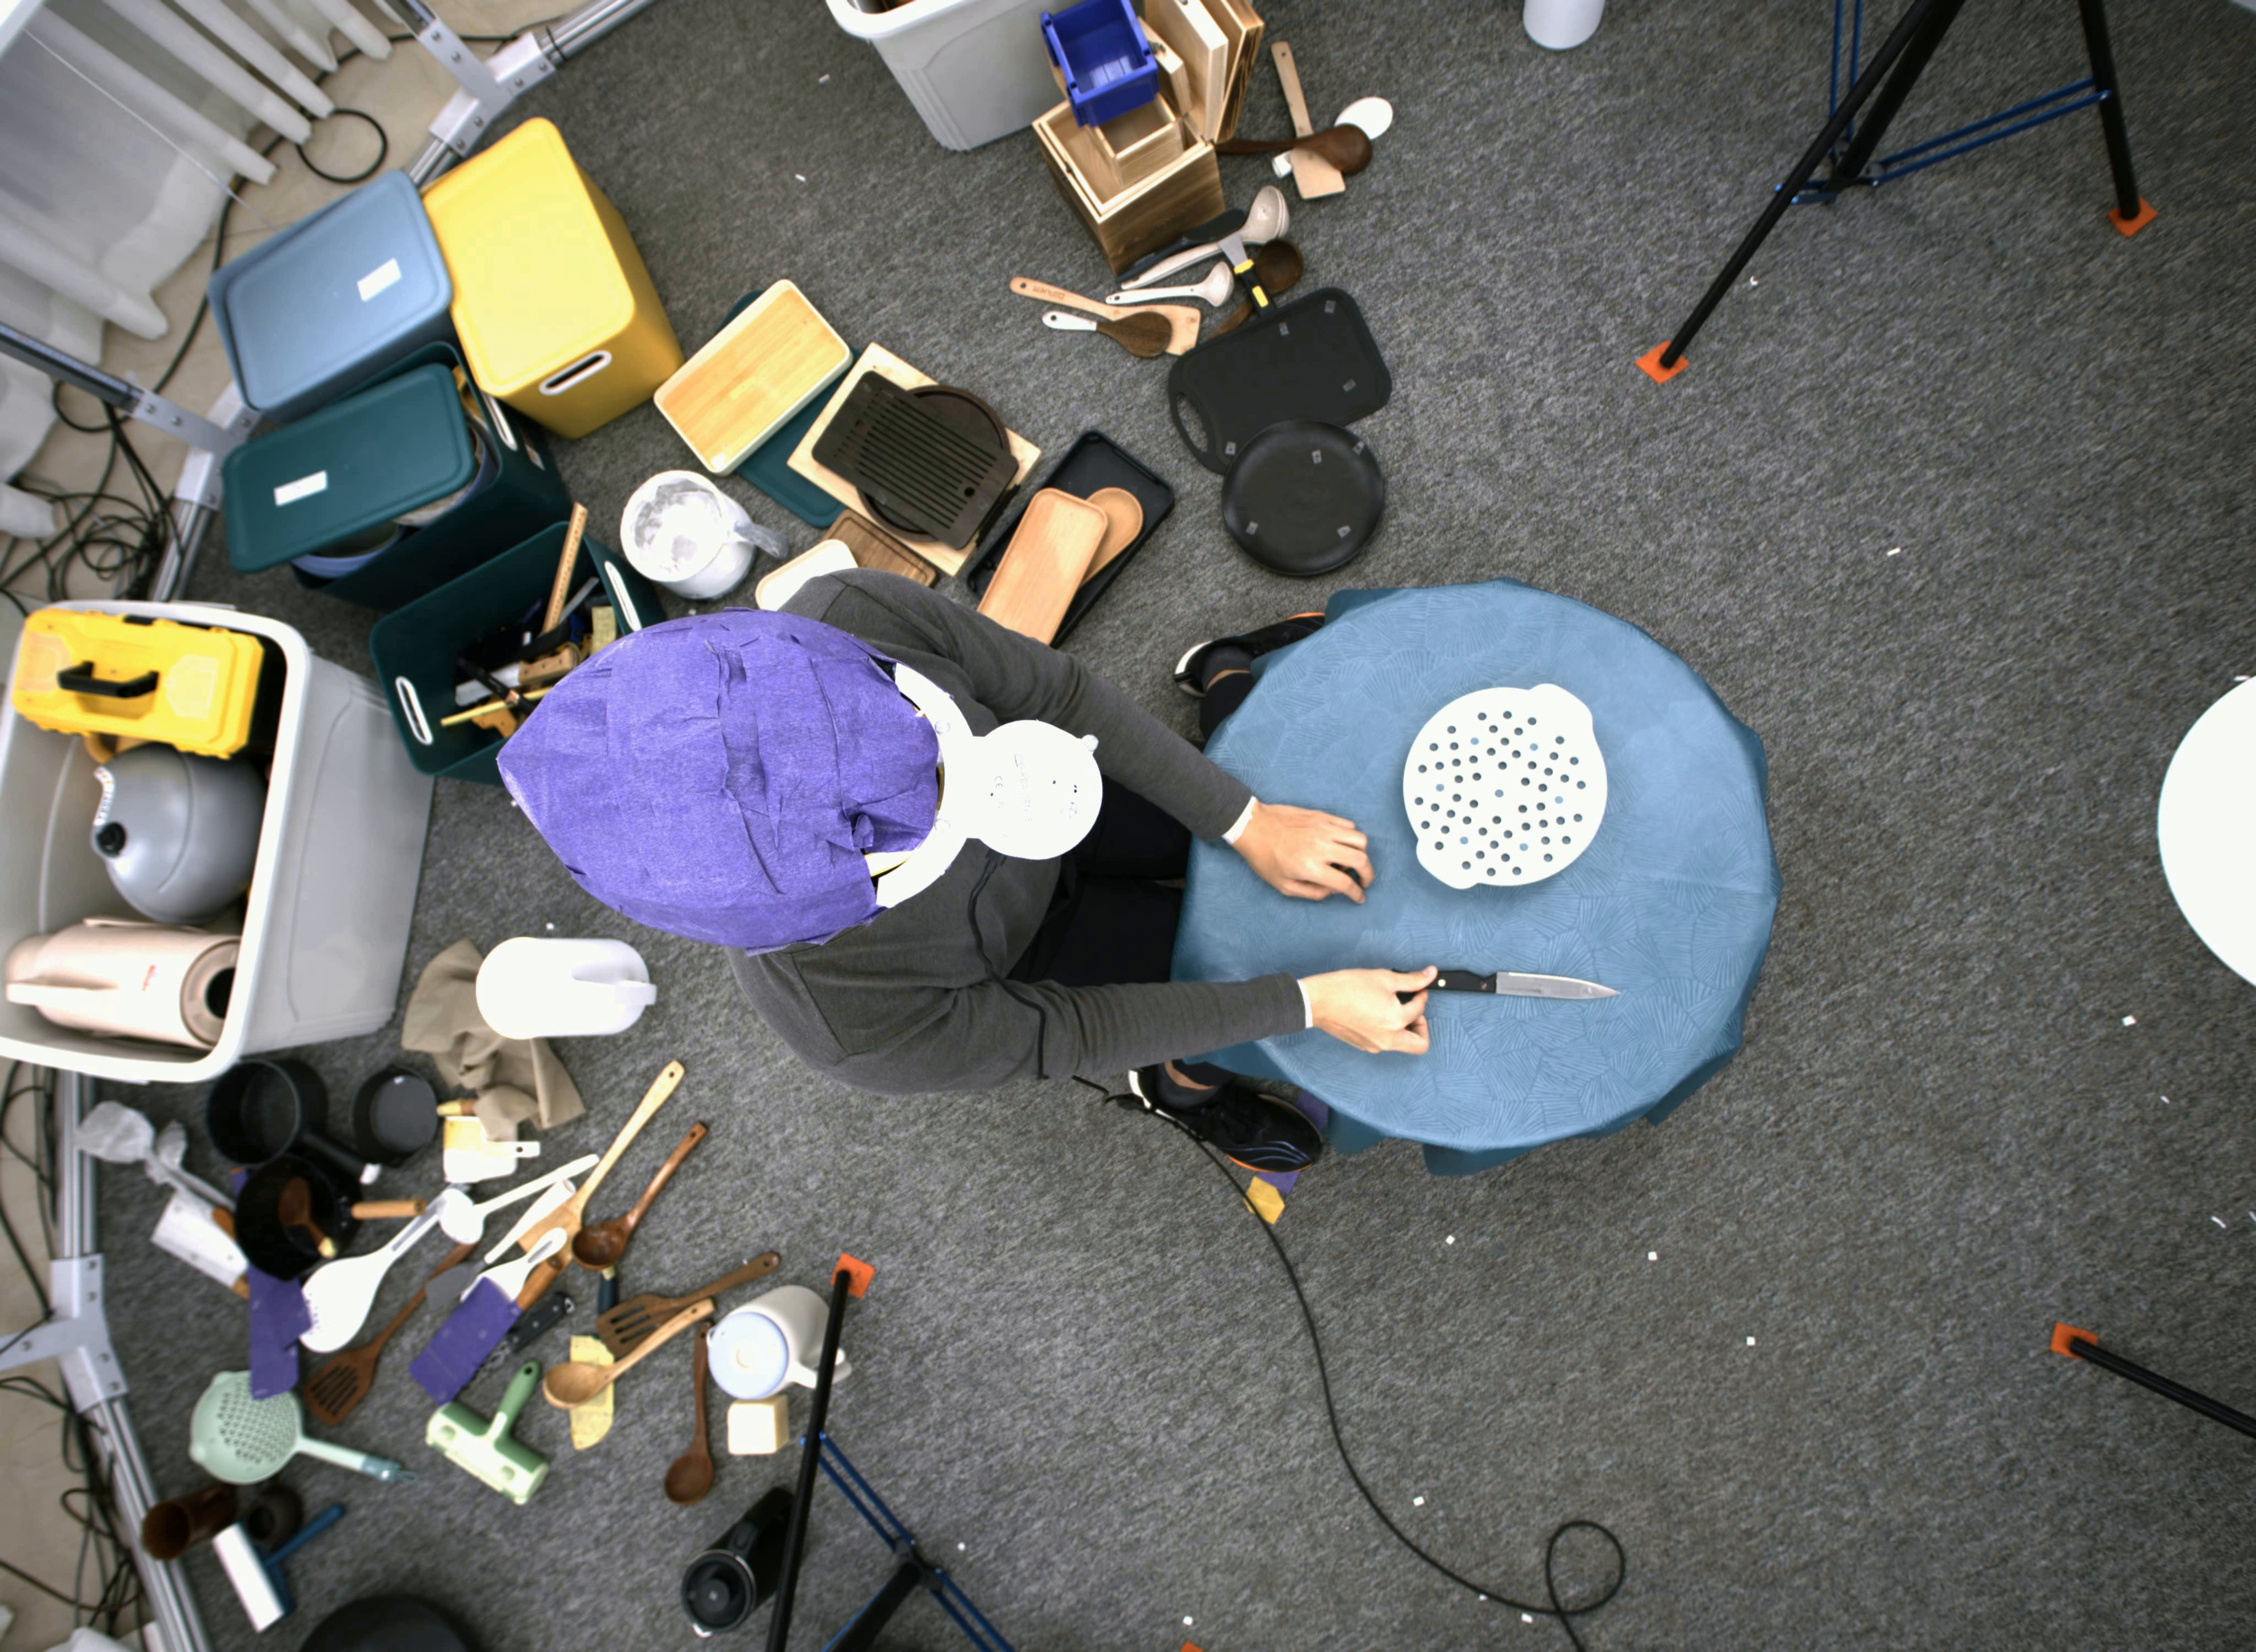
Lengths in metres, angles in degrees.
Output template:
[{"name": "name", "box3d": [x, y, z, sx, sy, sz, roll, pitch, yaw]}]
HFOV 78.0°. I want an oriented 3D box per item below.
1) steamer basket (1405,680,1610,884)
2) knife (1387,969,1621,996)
[{"name": "steamer basket", "box3d": [0.387, -0.044, 1.410, 0.201, 0.069, 0.231, 38, 95, 11]}, {"name": "knife", "box3d": [0.389, 0.161, 1.426, 0.239, 0.016, 0.024, 1, 86, 9]}]
